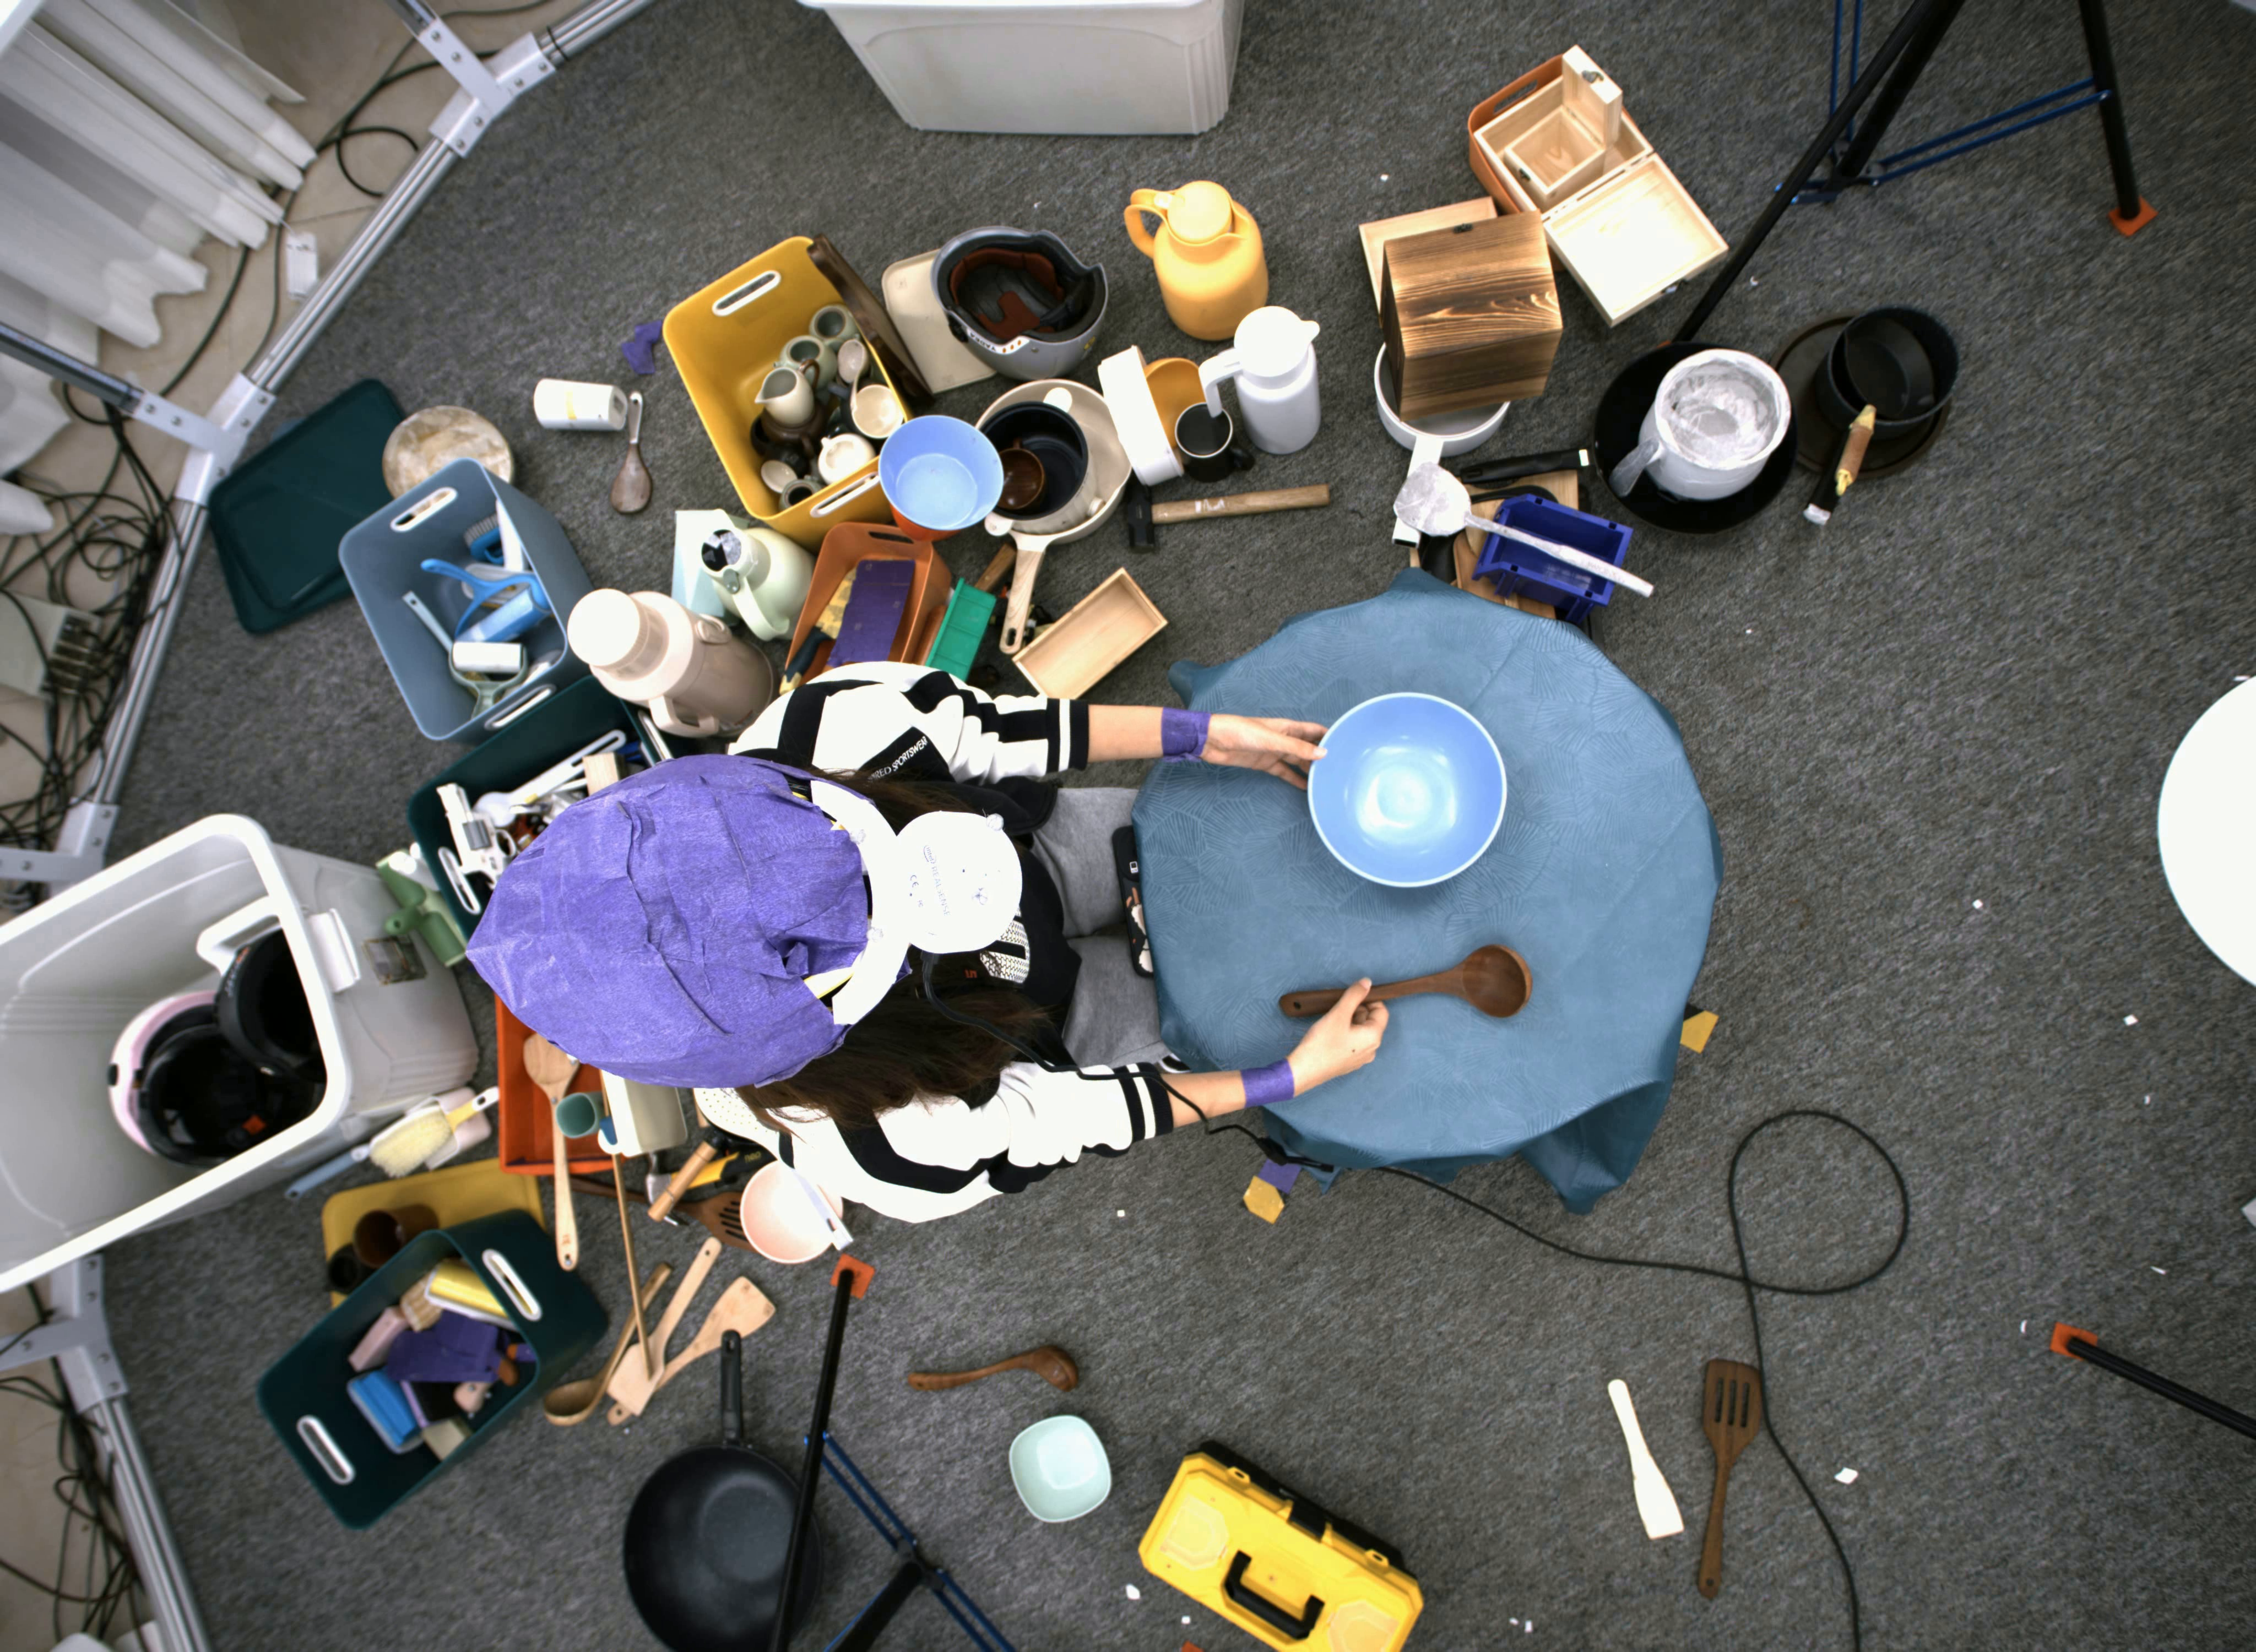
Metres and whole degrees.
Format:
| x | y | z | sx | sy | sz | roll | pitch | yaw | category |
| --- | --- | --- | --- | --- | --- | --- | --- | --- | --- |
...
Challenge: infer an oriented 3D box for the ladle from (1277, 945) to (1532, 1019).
| x | y | z | sx | sy | sz | roll | pitch | yaw | category |
| --- | --- | --- | --- | --- | --- | --- | --- | --- | --- |
| 0.281 | 0.171 | 1.420 | 0.261 | 0.065 | 0.076 | -9 | 91 | 9 | ladle |

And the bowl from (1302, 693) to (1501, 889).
| x | y | z | sx | sy | sz | roll | pitch | yaw | category |
| --- | --- | --- | --- | --- | --- | --- | --- | --- | --- |
| 0.277 | -0.035 | 1.418 | 0.197 | 0.095 | 0.196 | 0 | 91 | 6 | bowl |
